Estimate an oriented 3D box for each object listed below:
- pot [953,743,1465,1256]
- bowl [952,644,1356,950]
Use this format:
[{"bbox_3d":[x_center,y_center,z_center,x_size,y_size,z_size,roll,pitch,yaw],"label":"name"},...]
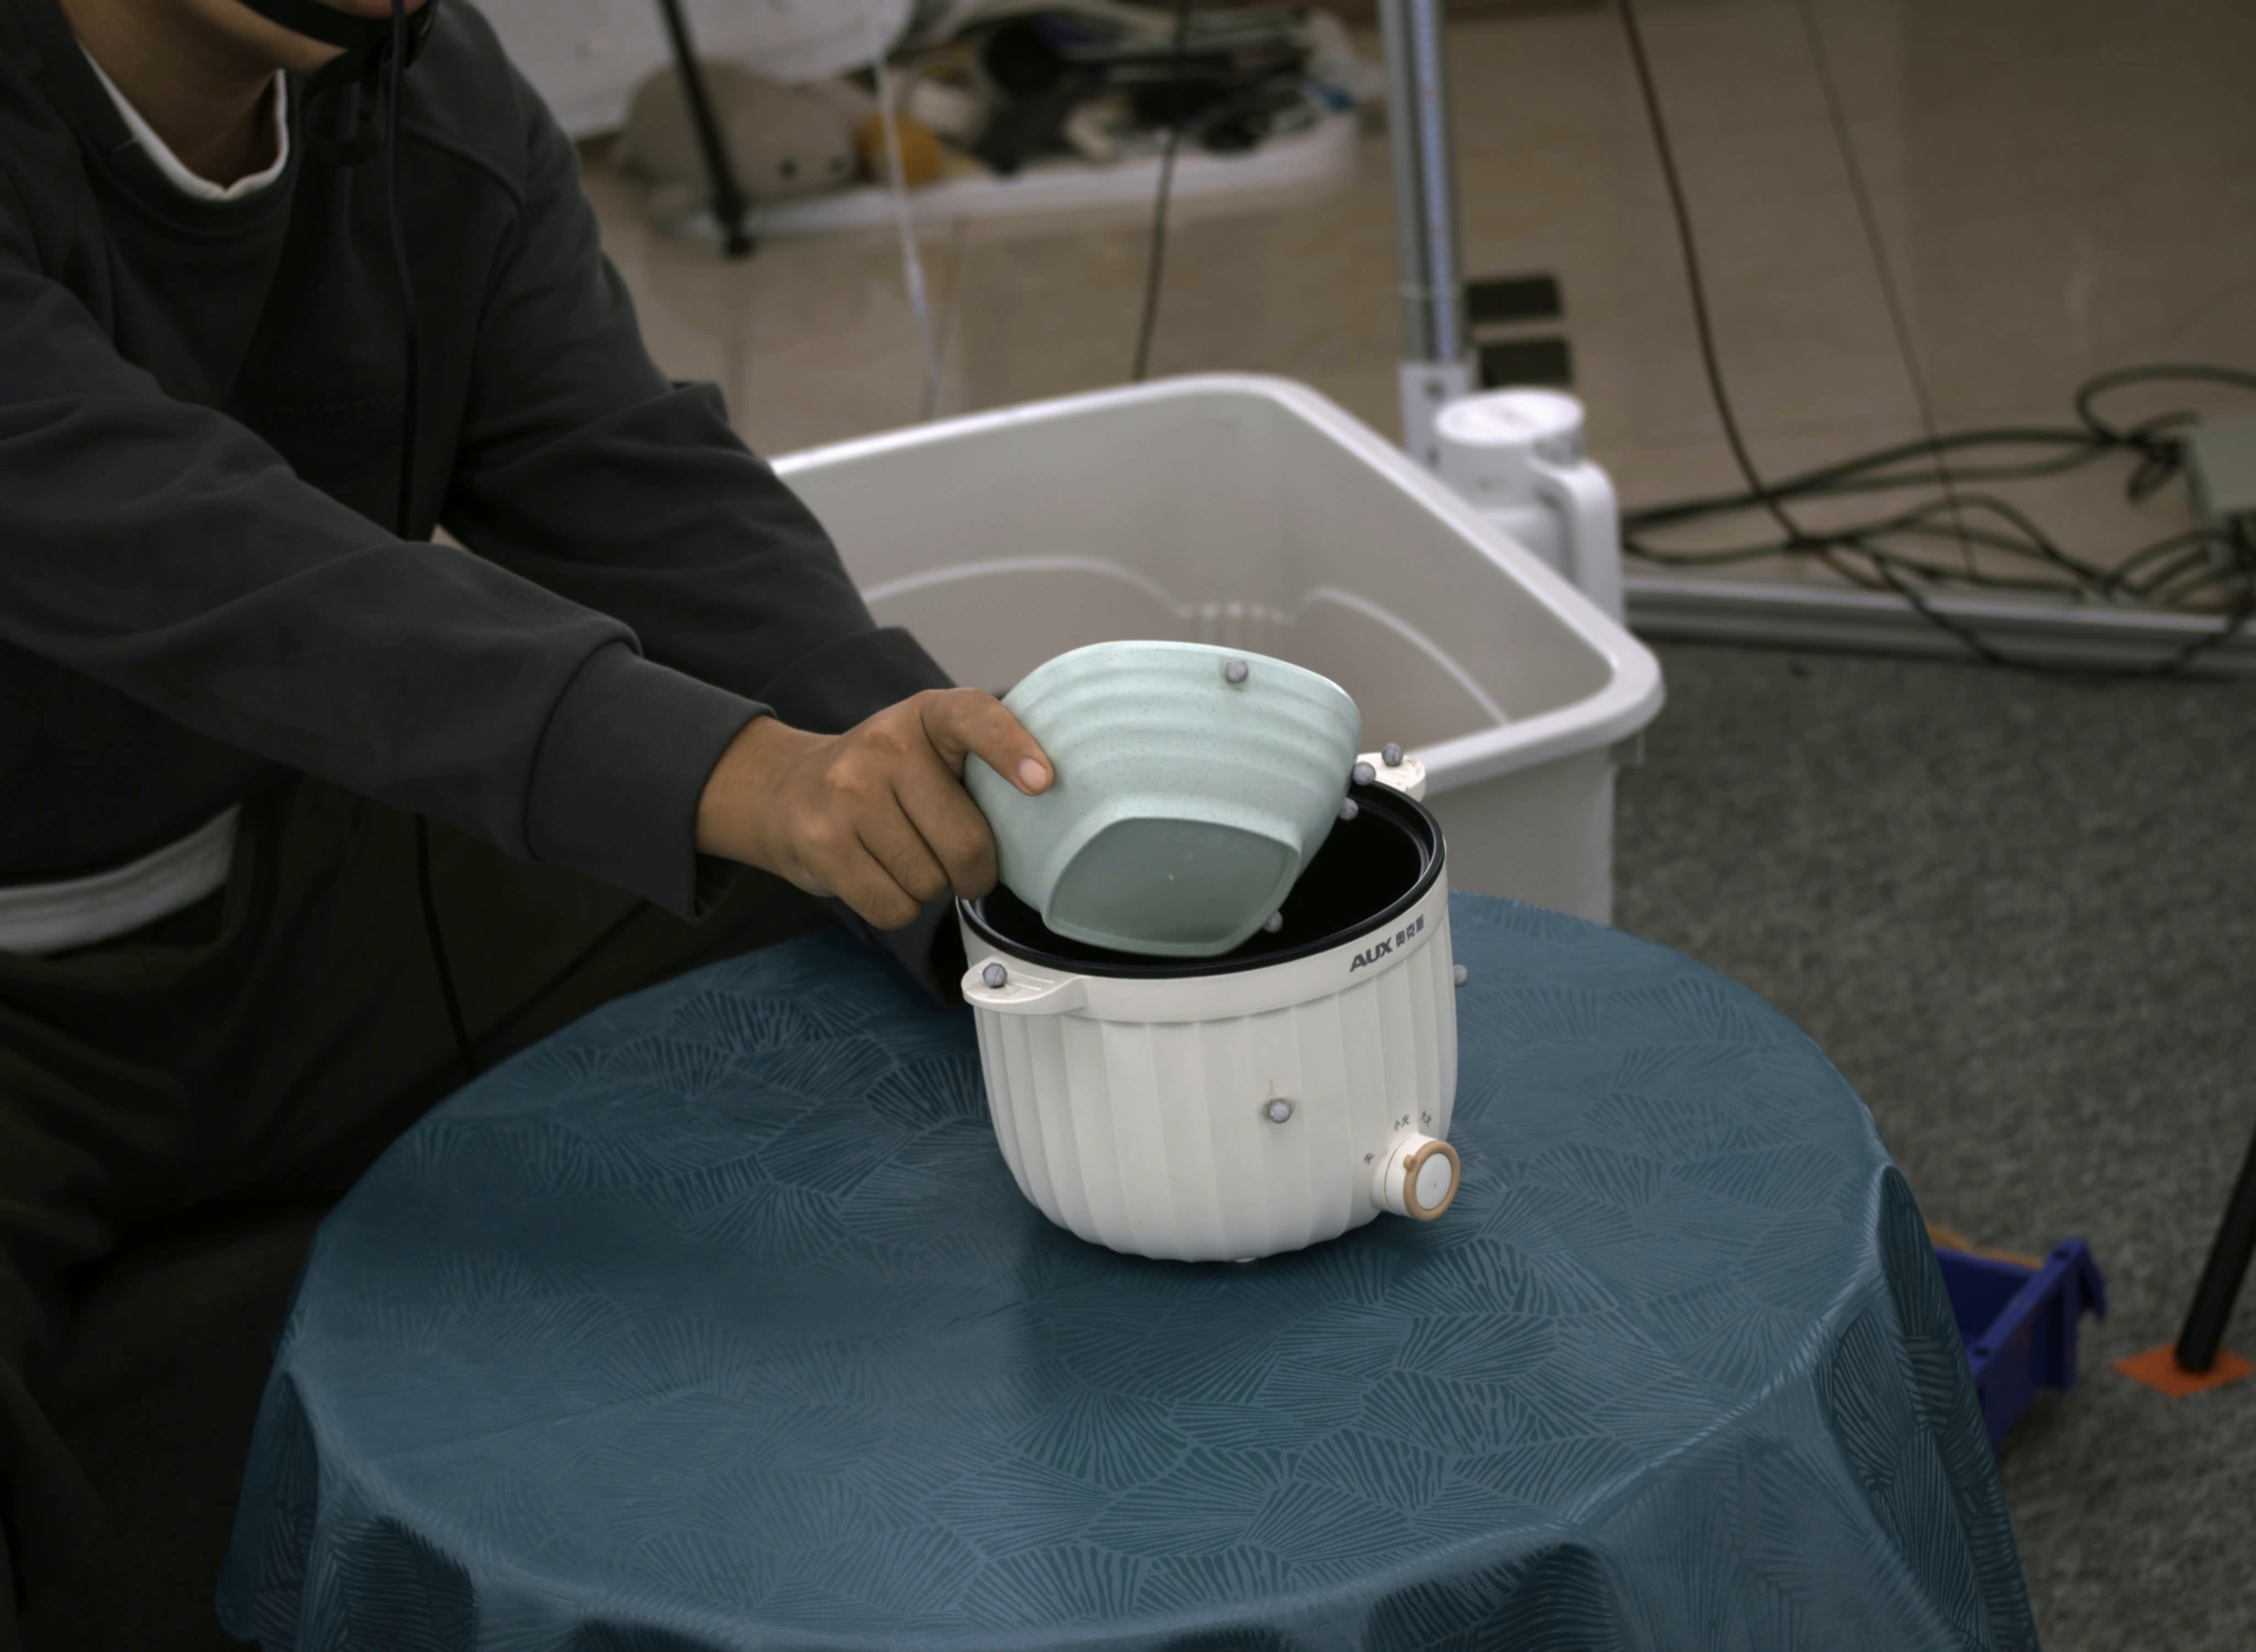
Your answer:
[{"bbox_3d":[0.038,0.072,2.114,0.189,0.145,0.238,12,32,40],"label":"pot"},{"bbox_3d":[0.010,0.000,2.019,0.151,0.154,0.057,-5,56,2],"label":"bowl"}]
